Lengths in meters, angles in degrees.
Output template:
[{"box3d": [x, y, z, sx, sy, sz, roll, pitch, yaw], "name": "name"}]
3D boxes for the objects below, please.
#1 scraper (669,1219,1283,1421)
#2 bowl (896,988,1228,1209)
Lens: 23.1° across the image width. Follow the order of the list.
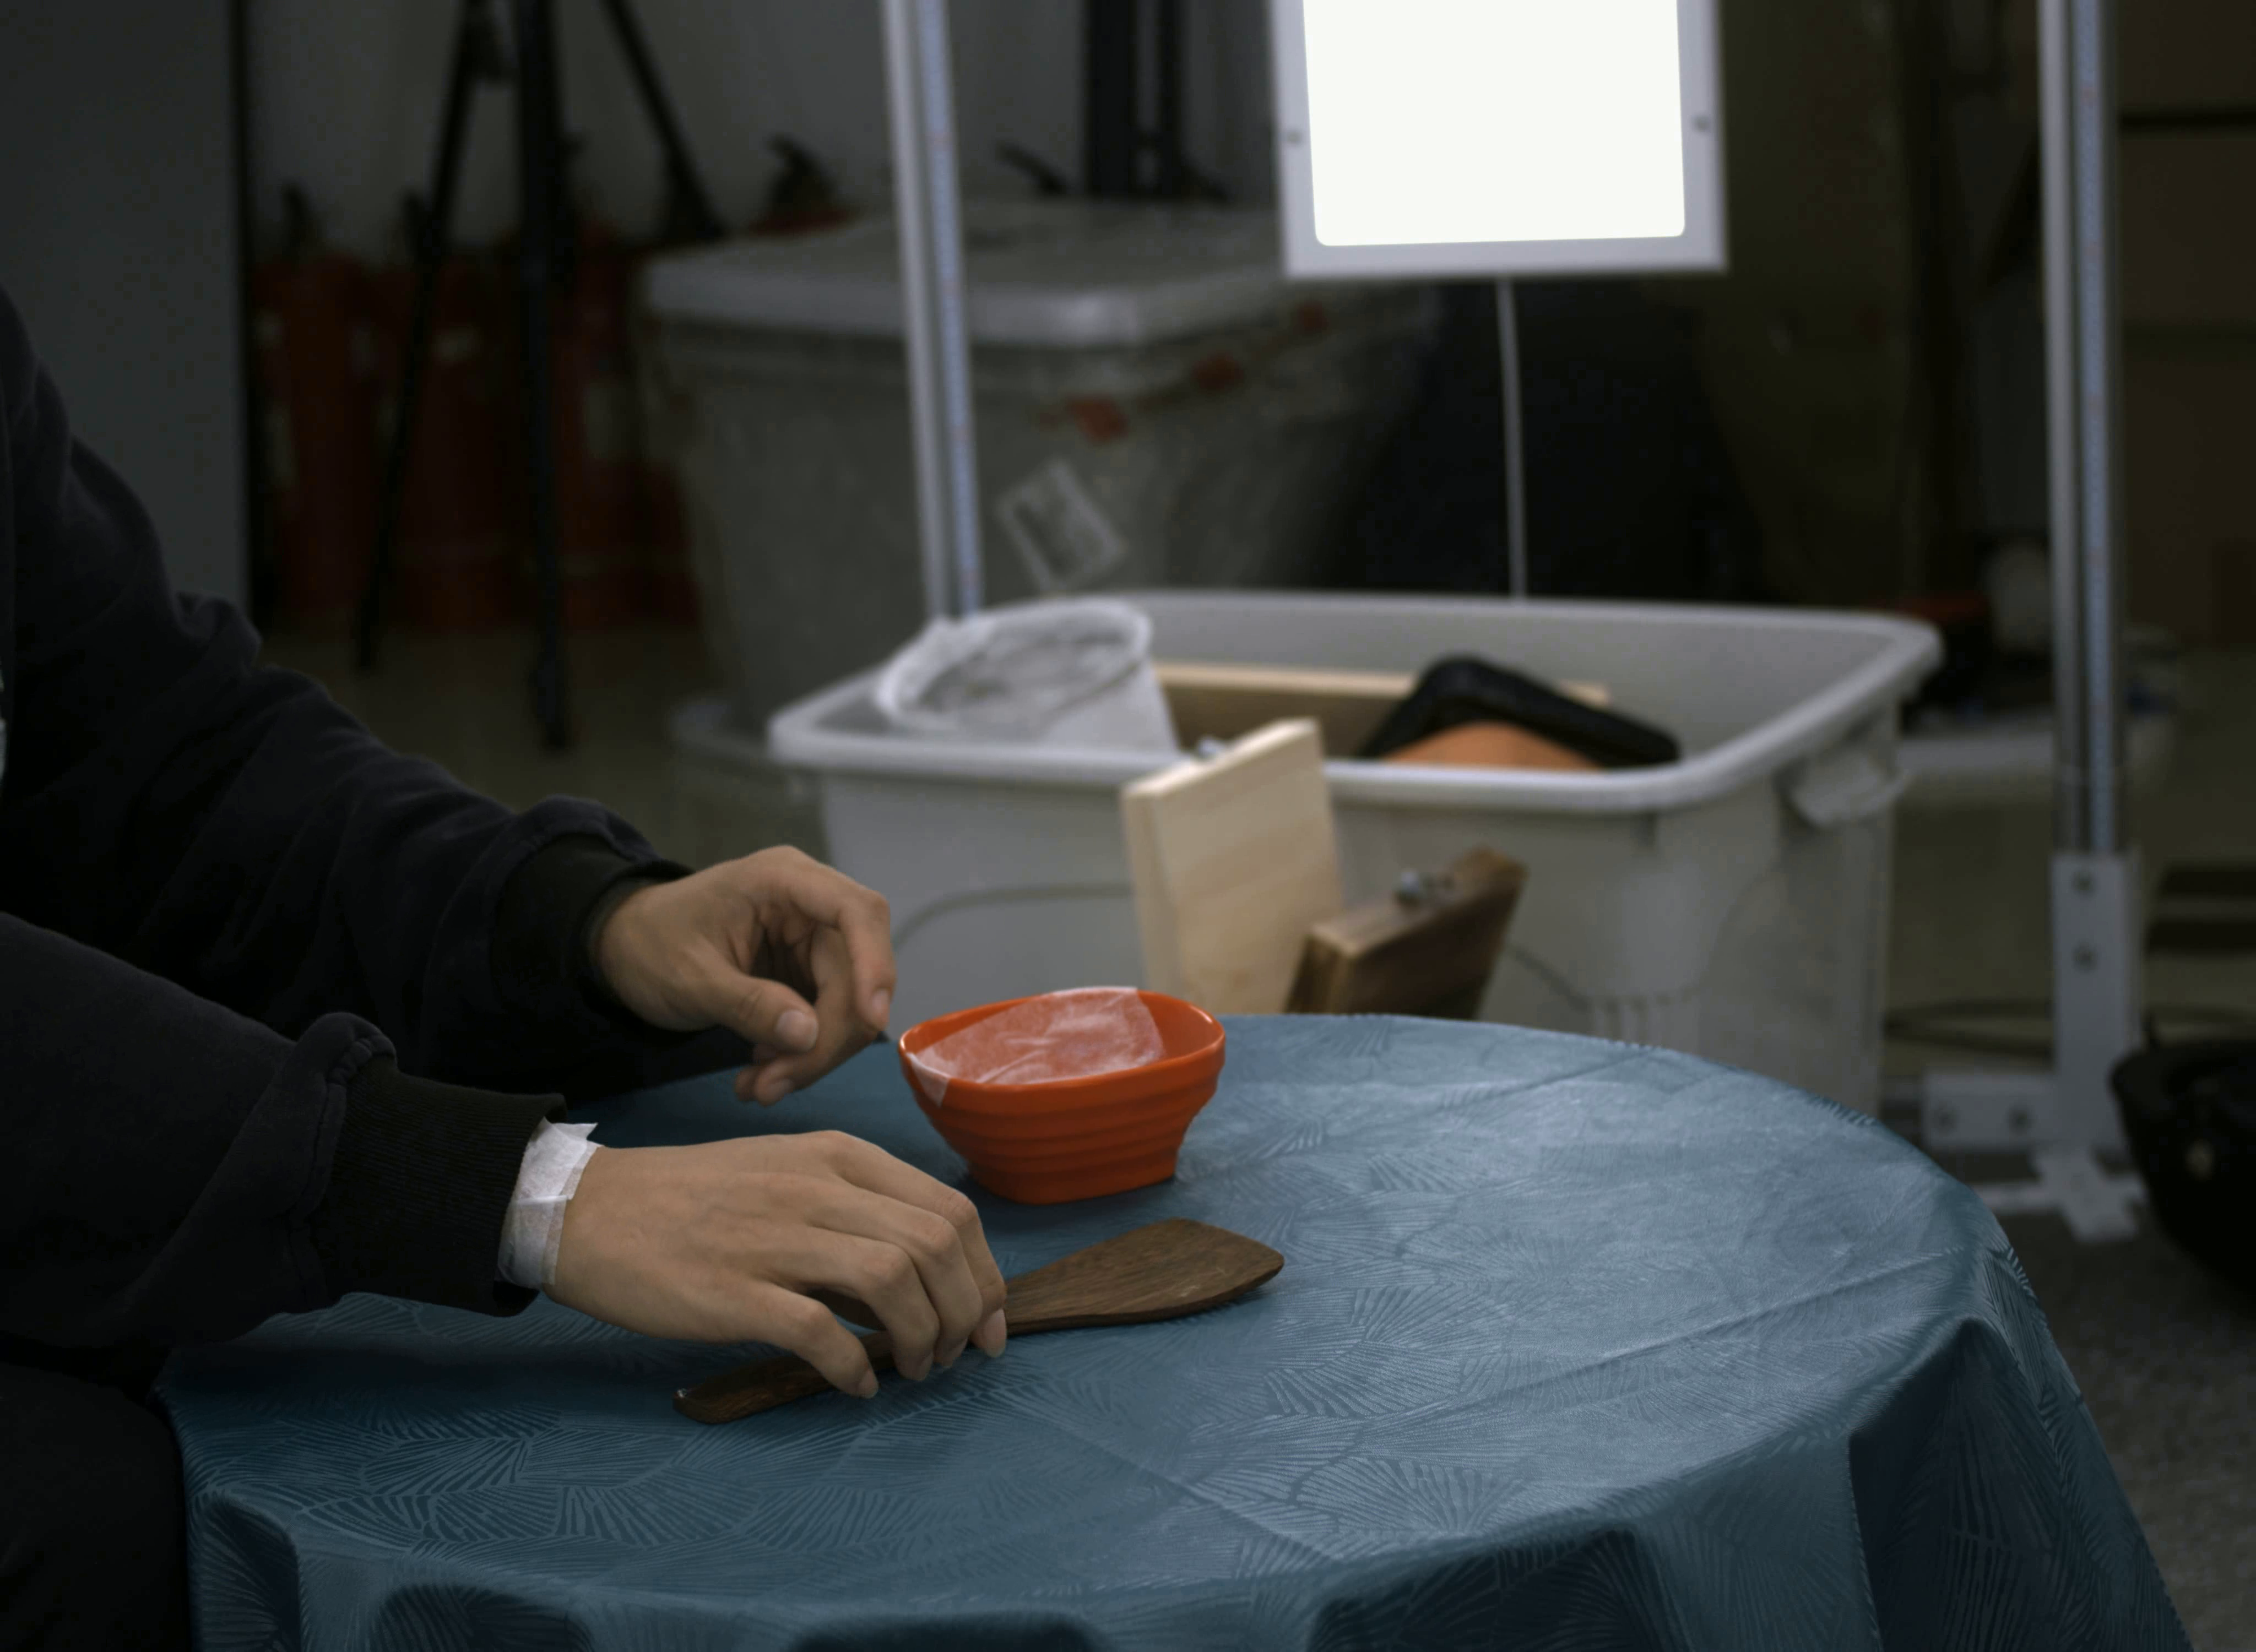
[{"box3d": [-0.051, 0.160, 1.763, 0.206, 0.011, 0.077, -14, 15, -29], "name": "scraper"}, {"box3d": [-0.022, 0.098, 1.921, 0.118, 0.051, 0.119, -4, 15, 0], "name": "bowl"}]
